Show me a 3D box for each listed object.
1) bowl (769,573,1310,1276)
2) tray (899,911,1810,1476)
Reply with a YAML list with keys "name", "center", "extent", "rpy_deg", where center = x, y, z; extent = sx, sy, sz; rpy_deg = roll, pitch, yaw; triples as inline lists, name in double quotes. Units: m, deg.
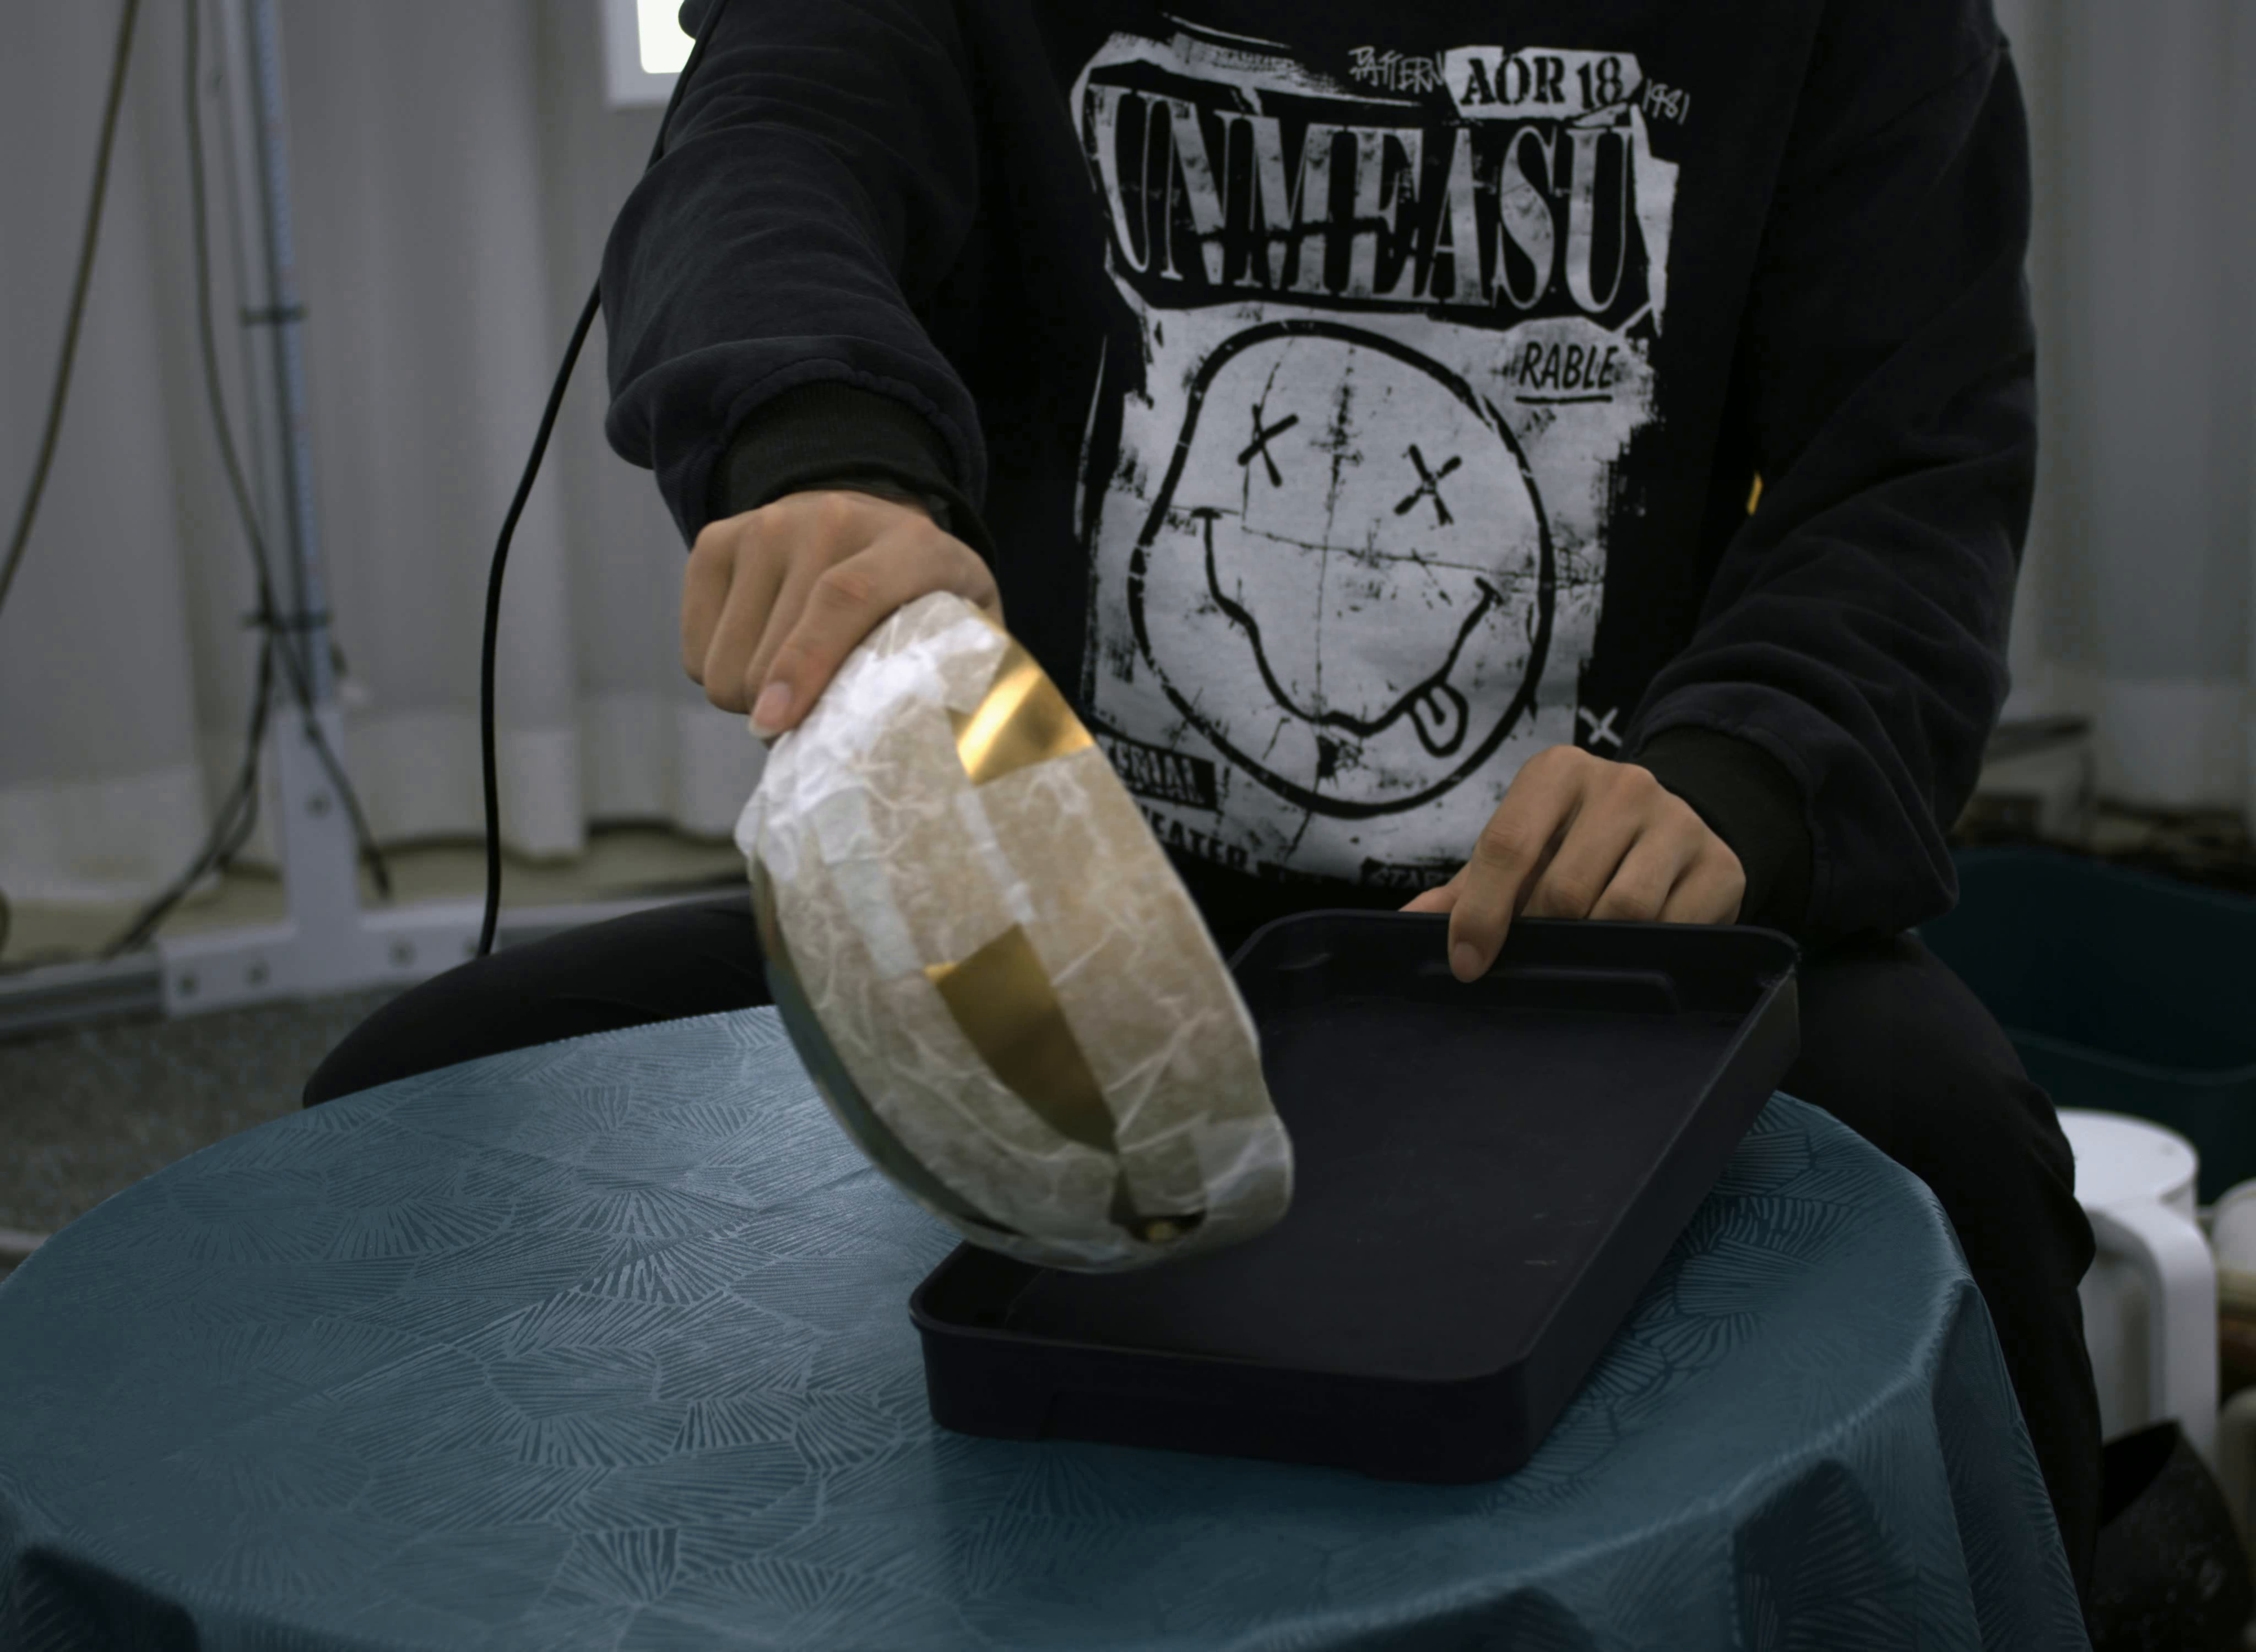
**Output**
- name: "bowl"
  center: [-0.040, 0.043, 1.506]
  extent: [0.094, 0.213, 0.216]
  rpy_deg: [-28, 21, -11]
- name: "tray"
  center: [0.076, 0.101, 1.615]
  extent: [0.184, 0.037, 0.319]
  rpy_deg: [2, 21, 24]
